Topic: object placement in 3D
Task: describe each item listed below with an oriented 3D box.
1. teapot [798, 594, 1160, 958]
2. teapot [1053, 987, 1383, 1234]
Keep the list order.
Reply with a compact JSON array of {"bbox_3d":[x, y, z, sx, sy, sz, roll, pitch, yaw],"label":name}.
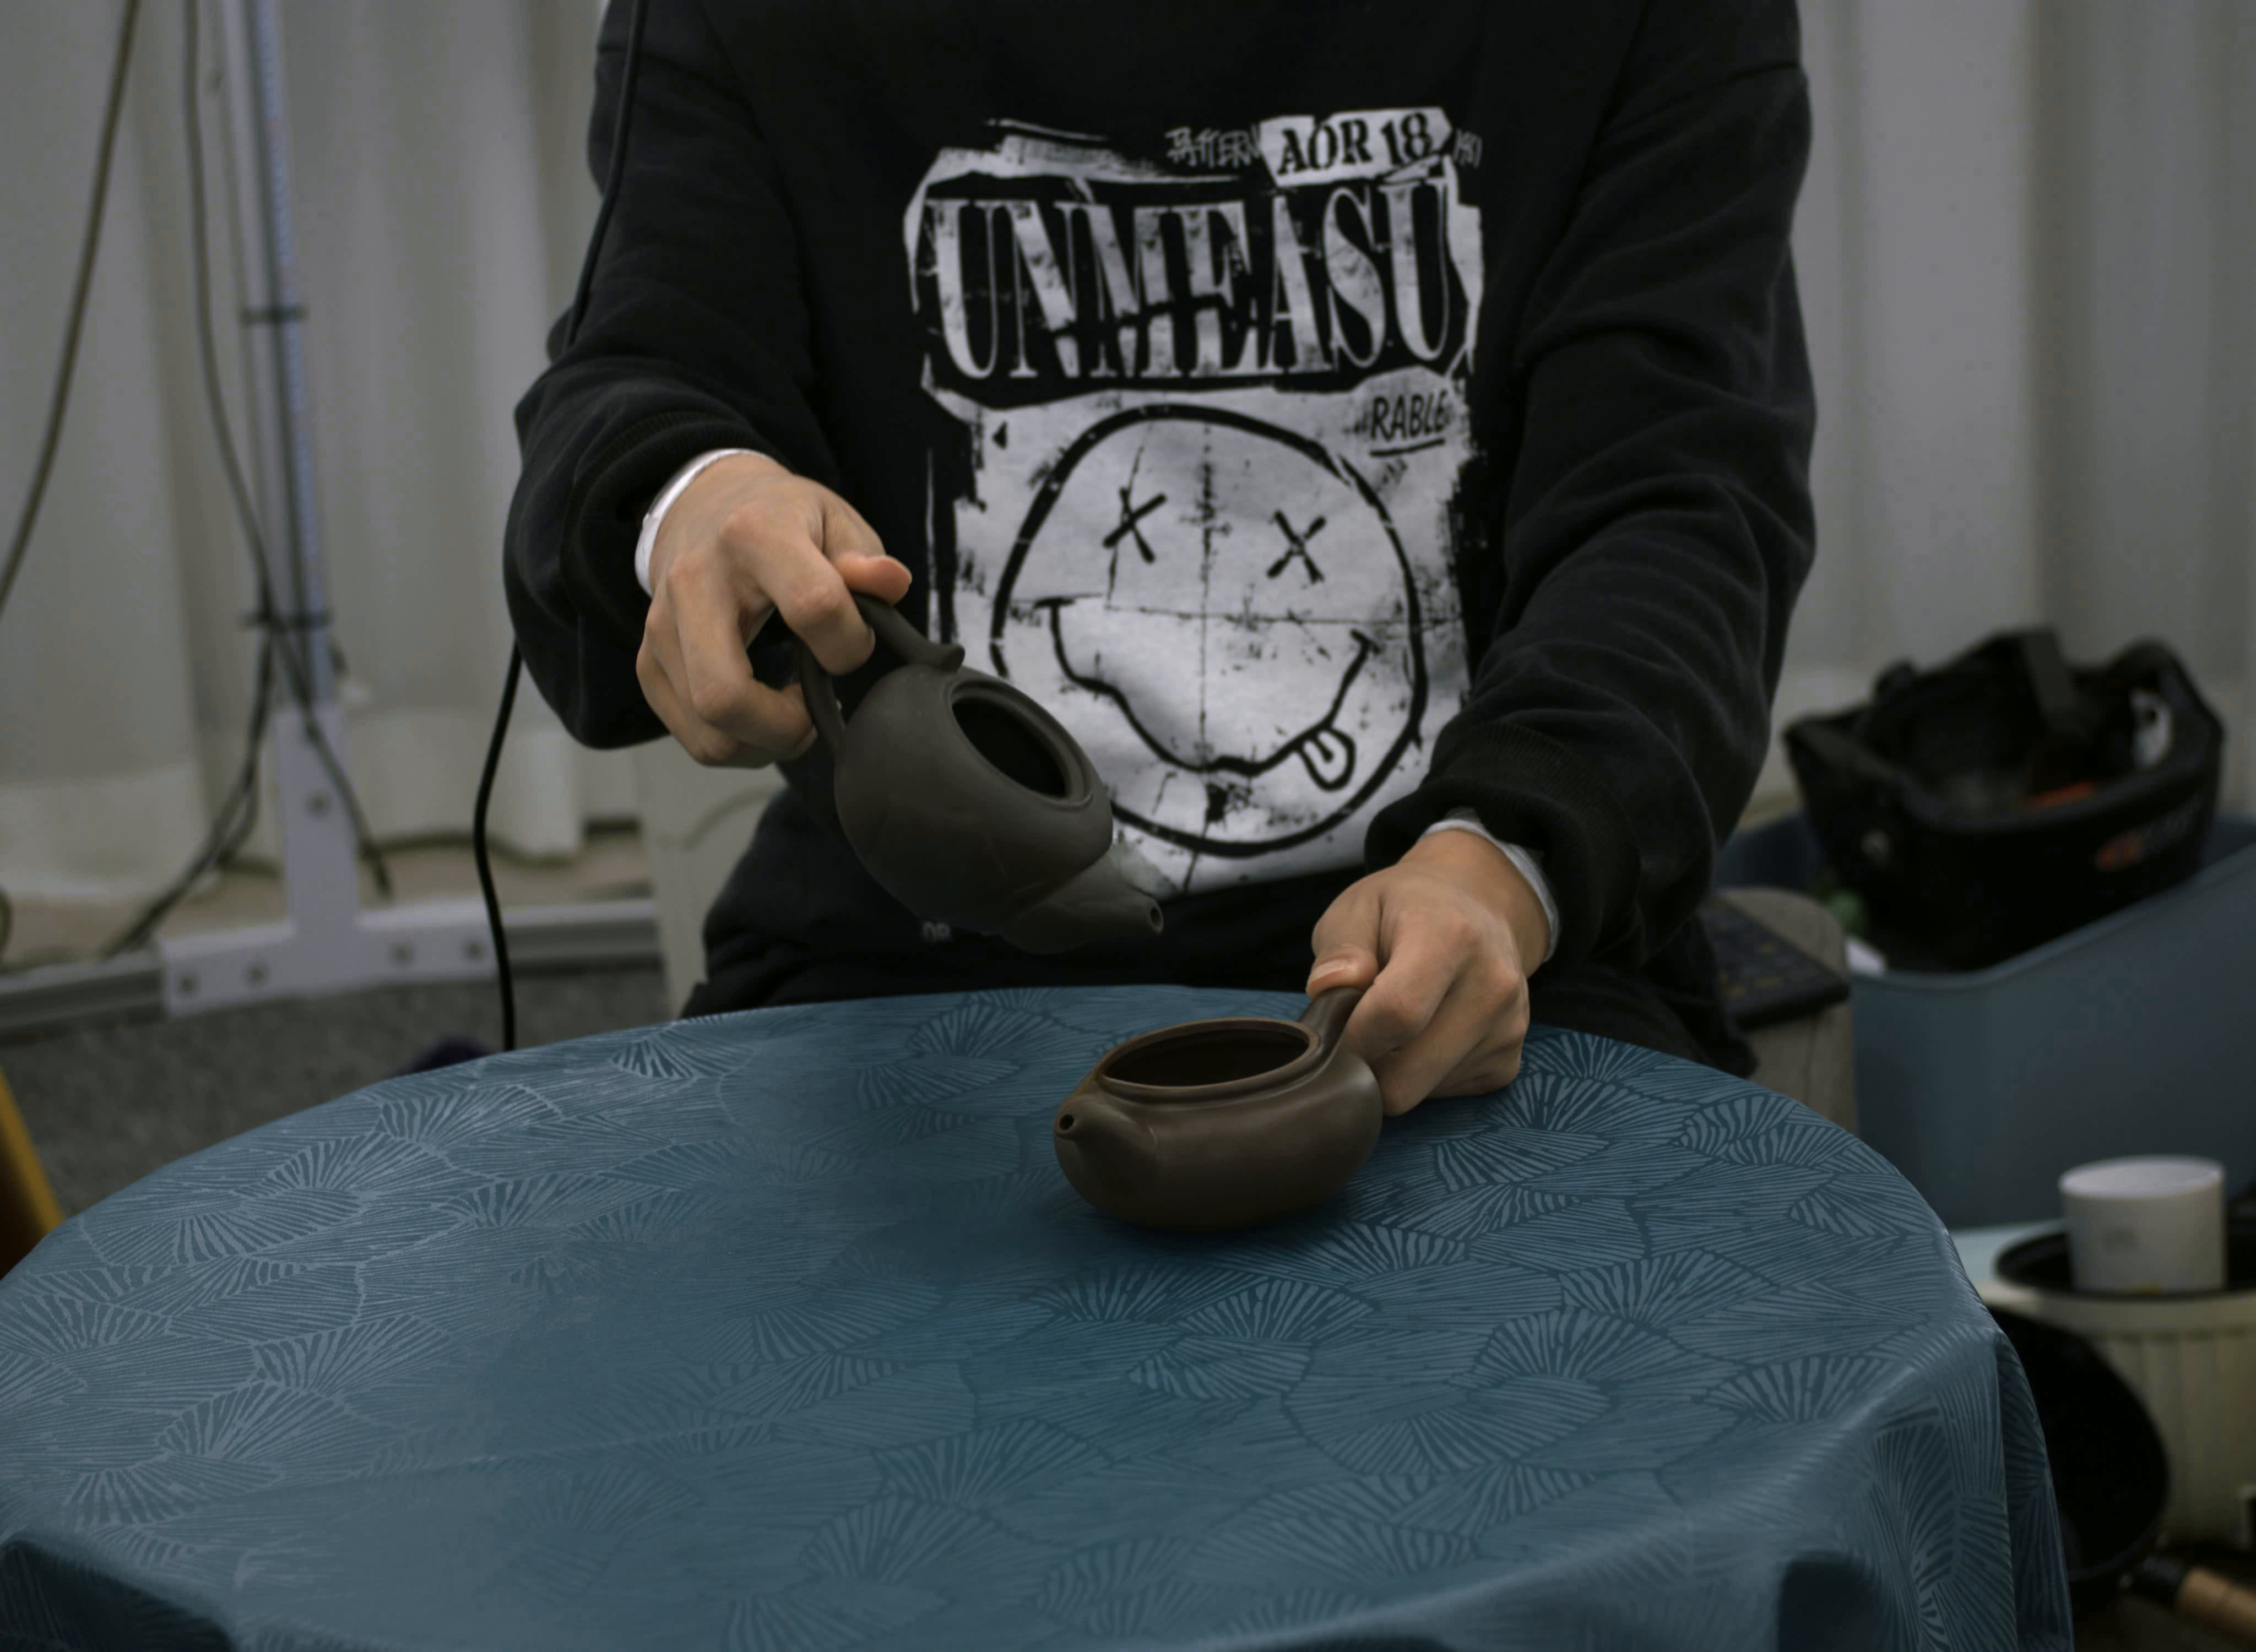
[{"bbox_3d":[-0.051,-0.009,1.700,0.155,0.064,0.092,49,23,17],"label":"teapot"},{"bbox_3d":[0.030,0.089,1.692,0.103,0.053,0.154,5,20,34],"label":"teapot"}]
